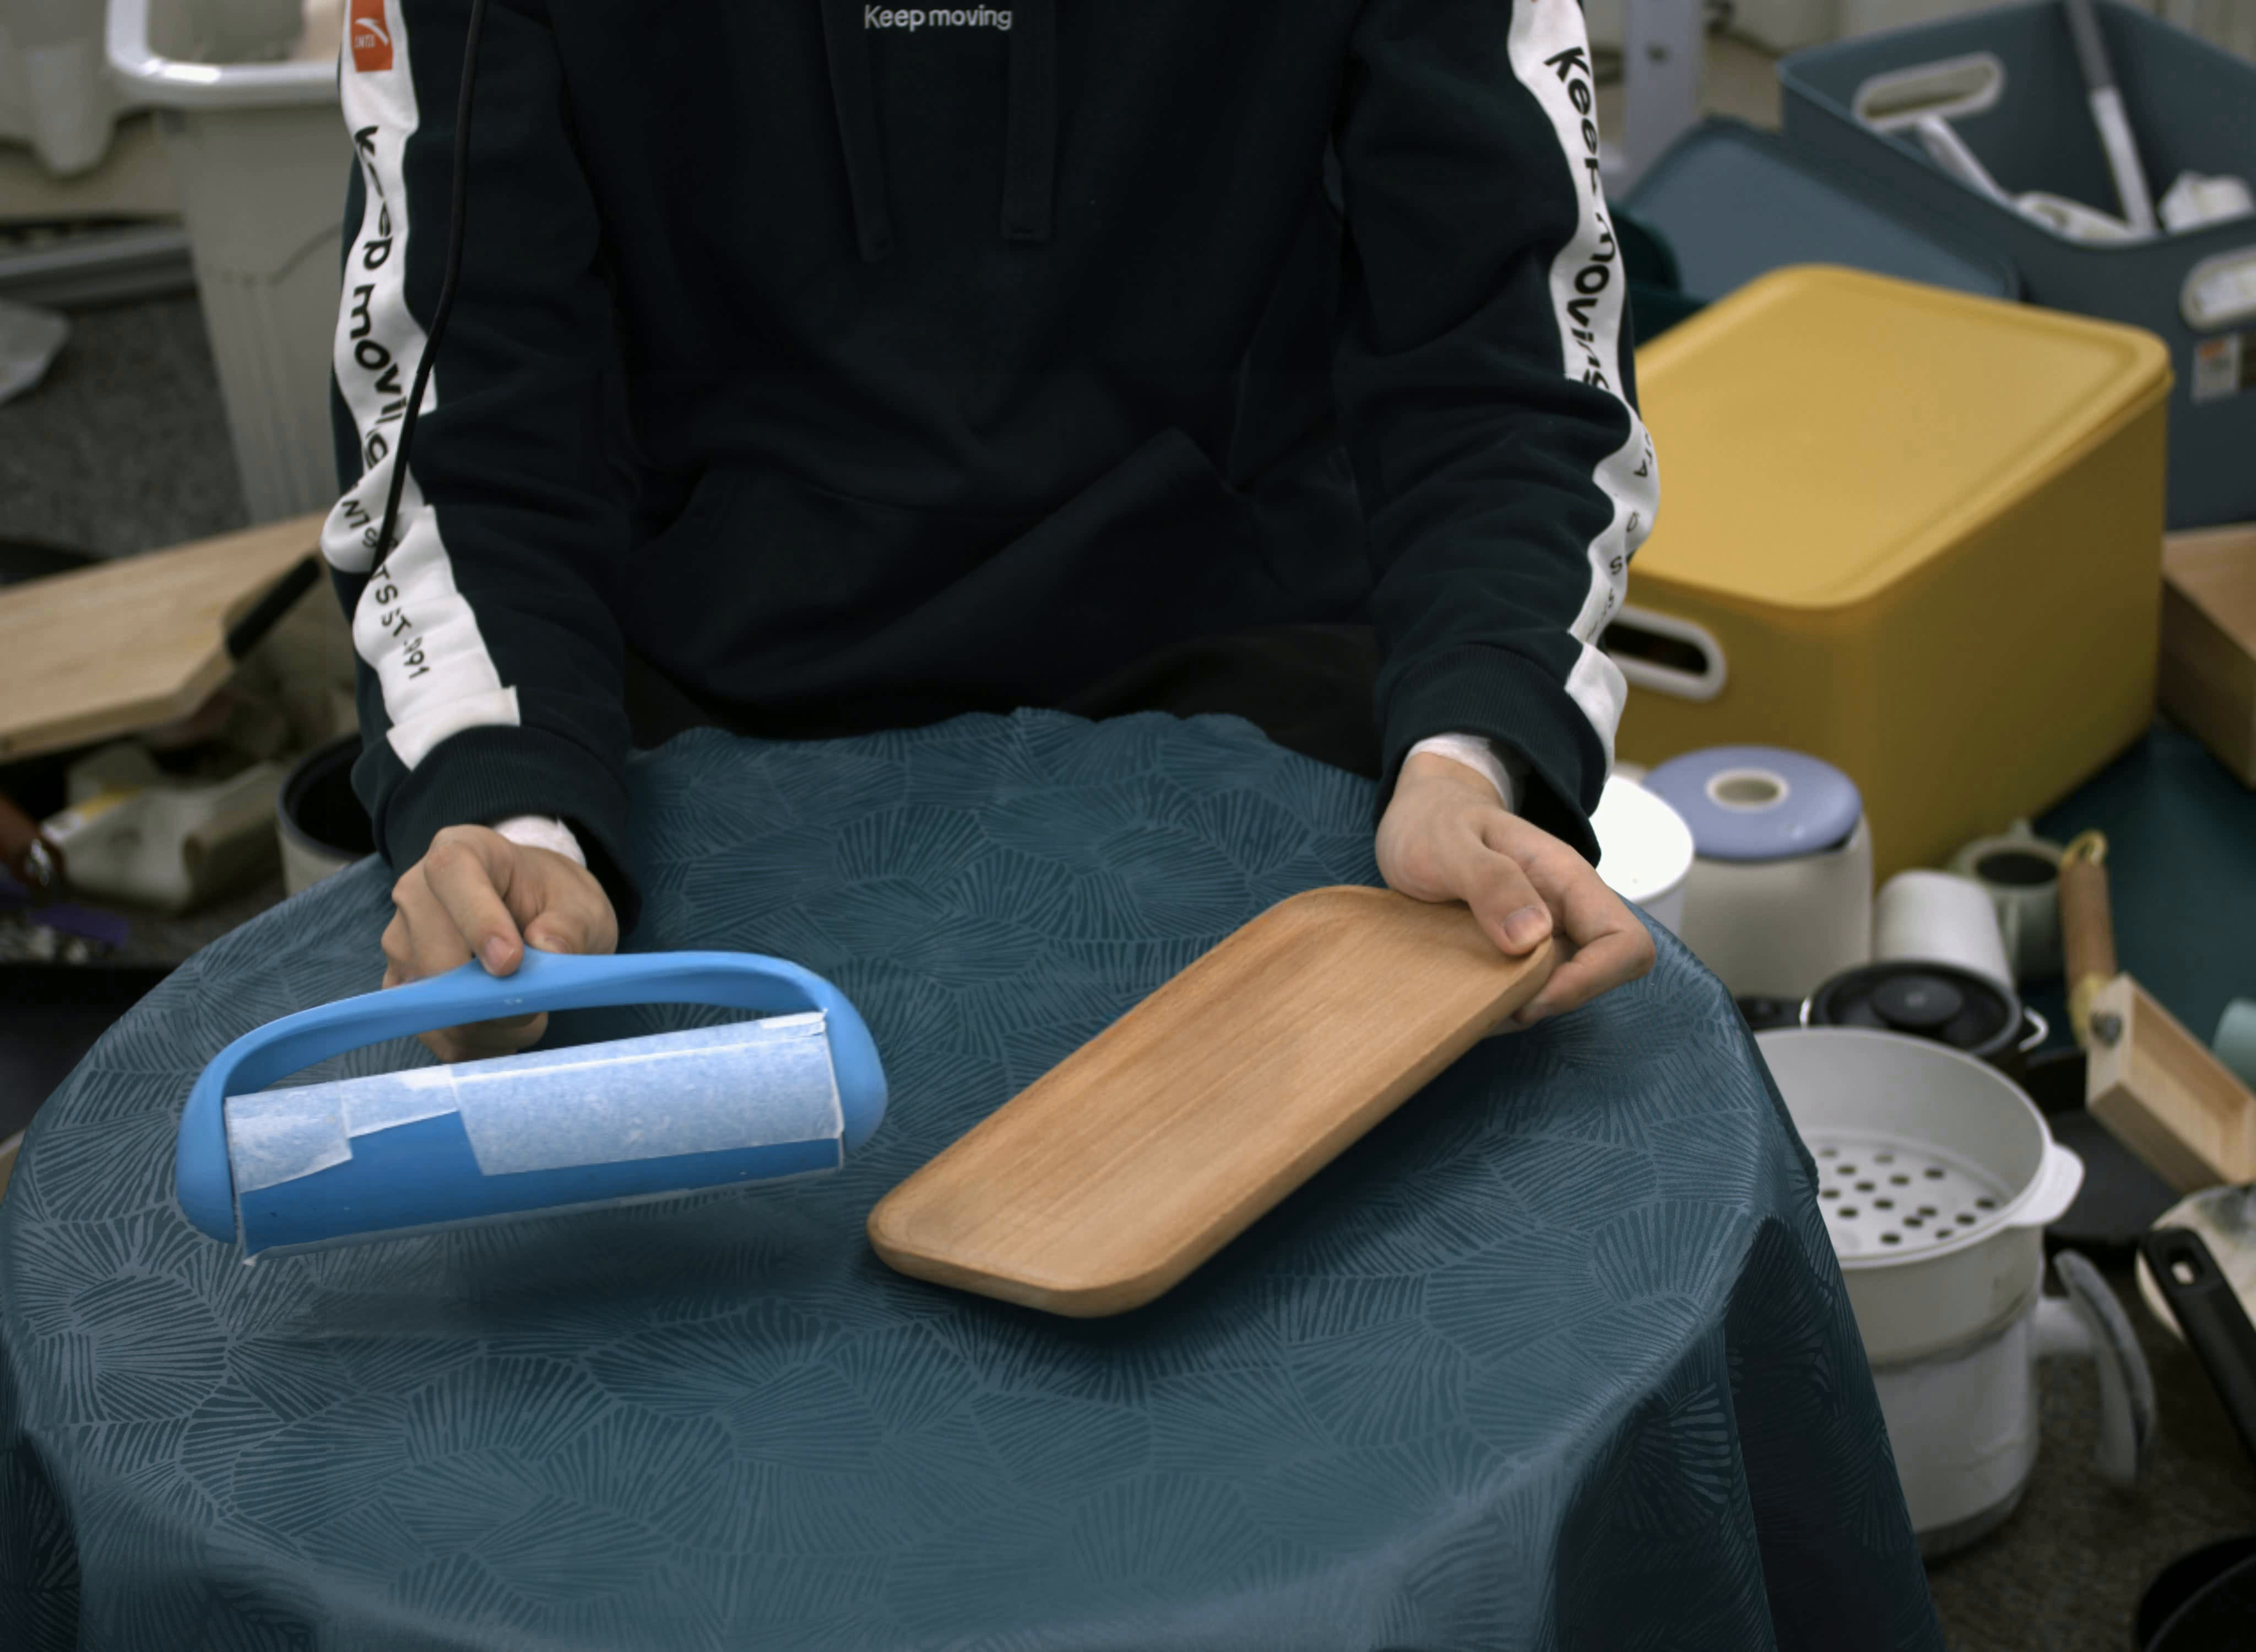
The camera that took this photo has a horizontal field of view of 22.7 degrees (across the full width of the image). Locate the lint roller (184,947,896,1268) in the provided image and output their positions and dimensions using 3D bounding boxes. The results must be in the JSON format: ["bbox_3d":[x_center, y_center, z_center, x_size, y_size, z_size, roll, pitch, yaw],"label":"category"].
[{"bbox_3d":[-0.201,0.074,1.846,0.229,0.067,0.182,-11,27,-12],"label":"lint roller"}]

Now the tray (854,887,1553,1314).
[{"bbox_3d":[0.028,0.089,1.864,0.129,0.023,0.254,7,32,44],"label":"tray"}]
